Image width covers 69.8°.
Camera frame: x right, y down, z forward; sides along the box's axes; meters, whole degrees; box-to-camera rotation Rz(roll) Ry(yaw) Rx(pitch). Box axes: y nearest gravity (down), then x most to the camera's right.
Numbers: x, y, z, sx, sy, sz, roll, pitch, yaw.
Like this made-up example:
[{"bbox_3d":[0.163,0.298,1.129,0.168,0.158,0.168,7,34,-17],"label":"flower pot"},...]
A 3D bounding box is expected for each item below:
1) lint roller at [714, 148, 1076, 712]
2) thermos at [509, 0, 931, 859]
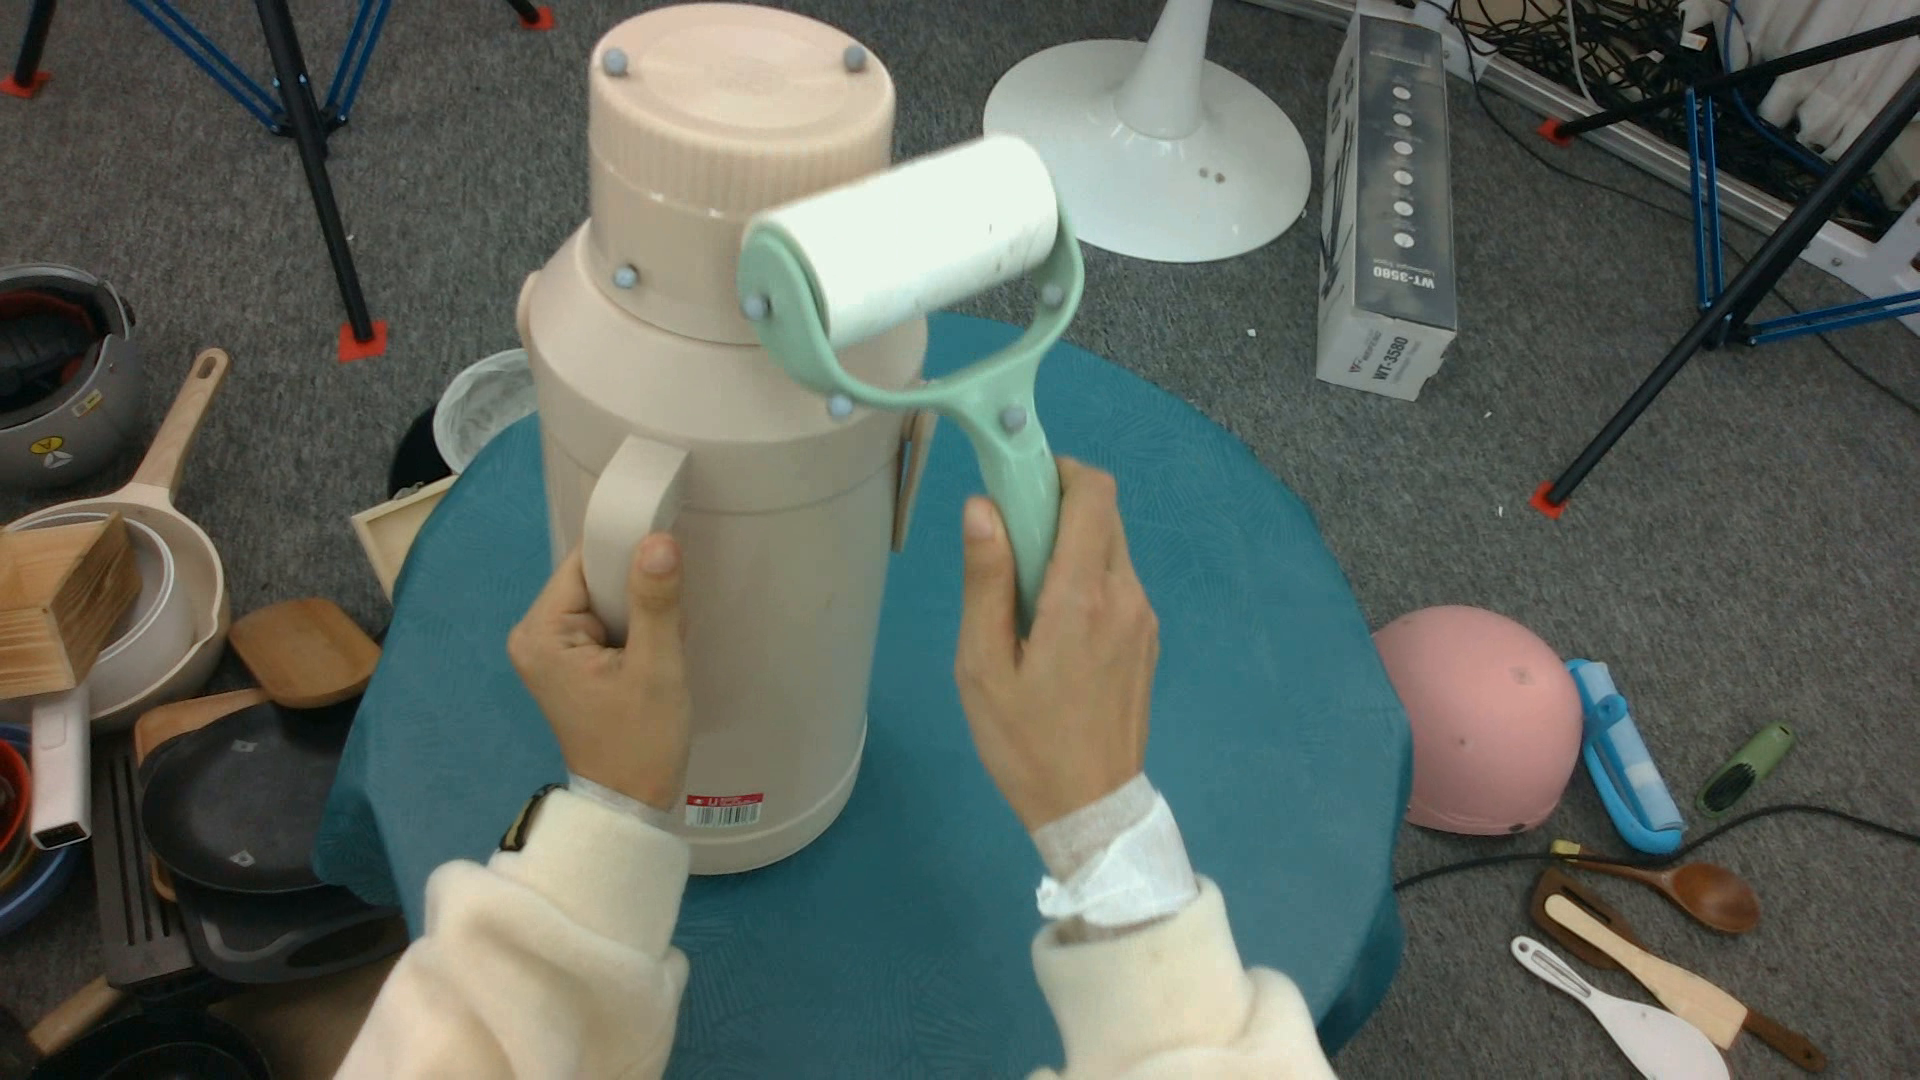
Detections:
[{"bbox_3d":[0.002,-0.029,0.473,0.117,0.048,0.197,-28,99,-35],"label":"lint roller"},{"bbox_3d":[-0.113,-0.019,0.609,0.175,0.404,0.208,15,45,3],"label":"thermos"}]
